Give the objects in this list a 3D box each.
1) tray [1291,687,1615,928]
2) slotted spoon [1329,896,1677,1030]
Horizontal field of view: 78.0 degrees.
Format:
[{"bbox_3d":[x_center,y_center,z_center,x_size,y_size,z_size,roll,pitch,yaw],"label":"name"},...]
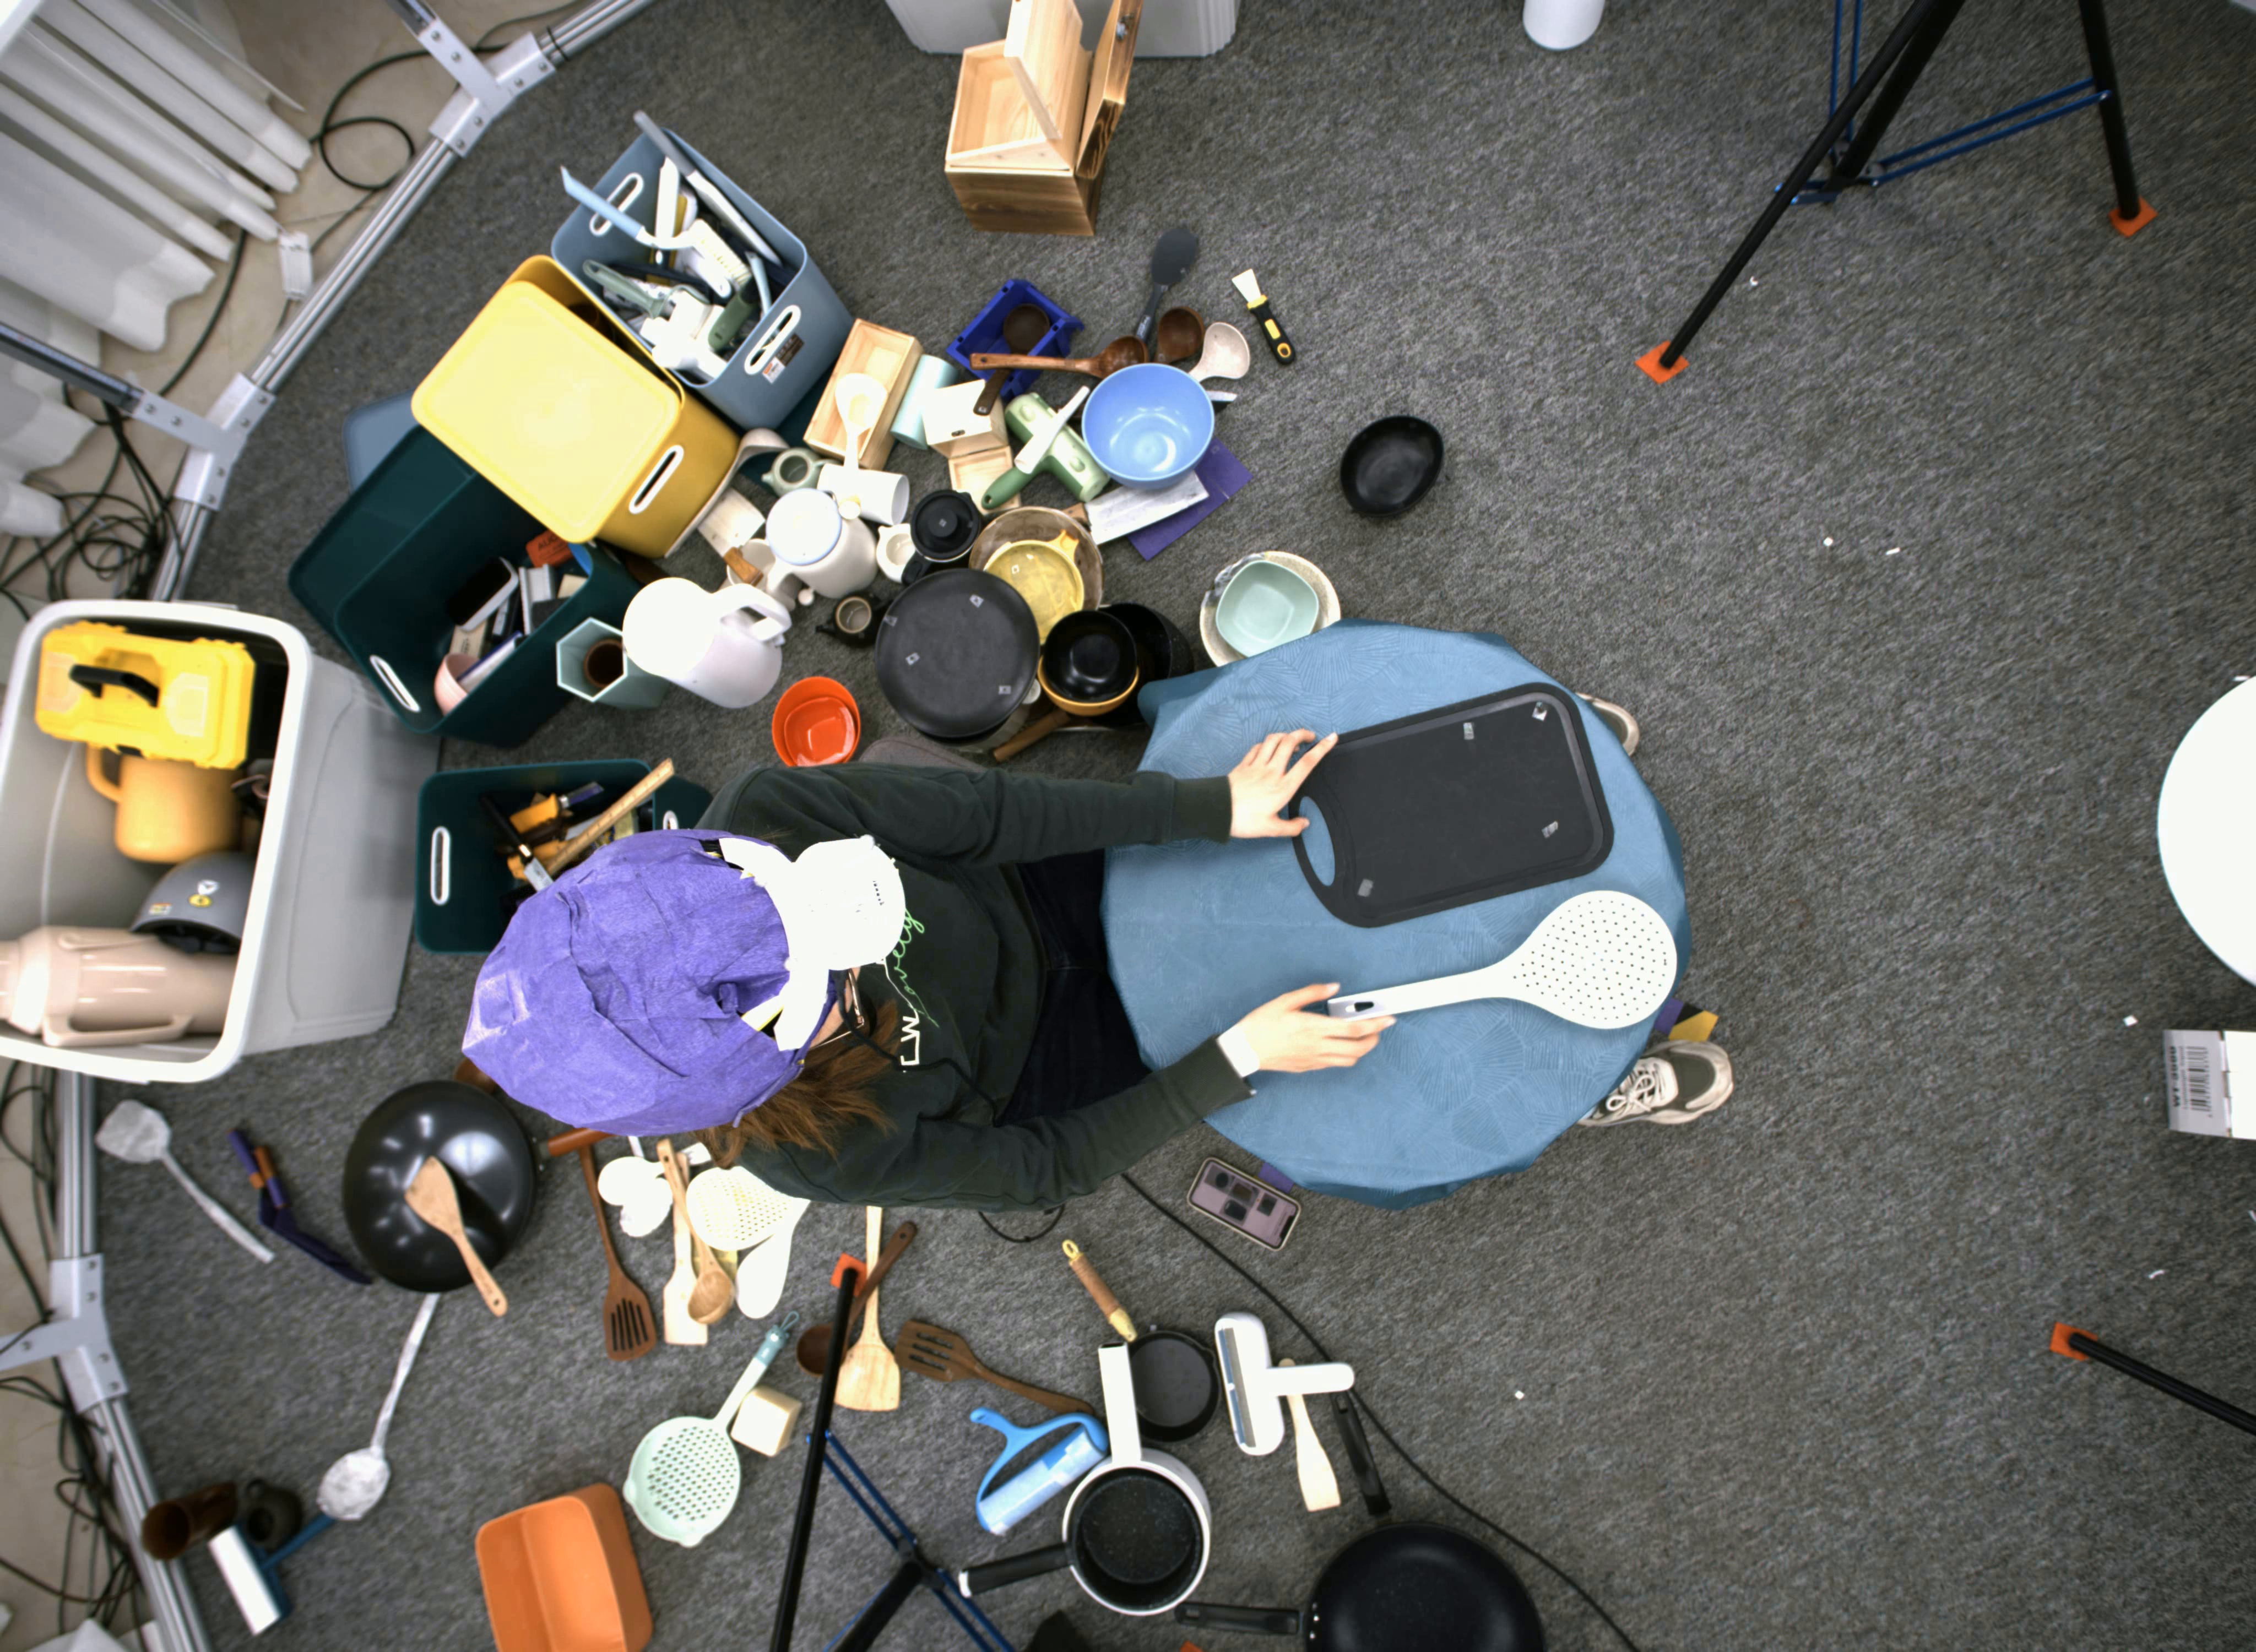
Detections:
[{"bbox_3d":[0.336,-0.019,1.455,0.327,0.010,0.209,-15,83,9],"label":"tray"},{"bbox_3d":[0.381,0.159,1.416,0.352,0.046,0.135,-12,82,10],"label":"slotted spoon"}]
